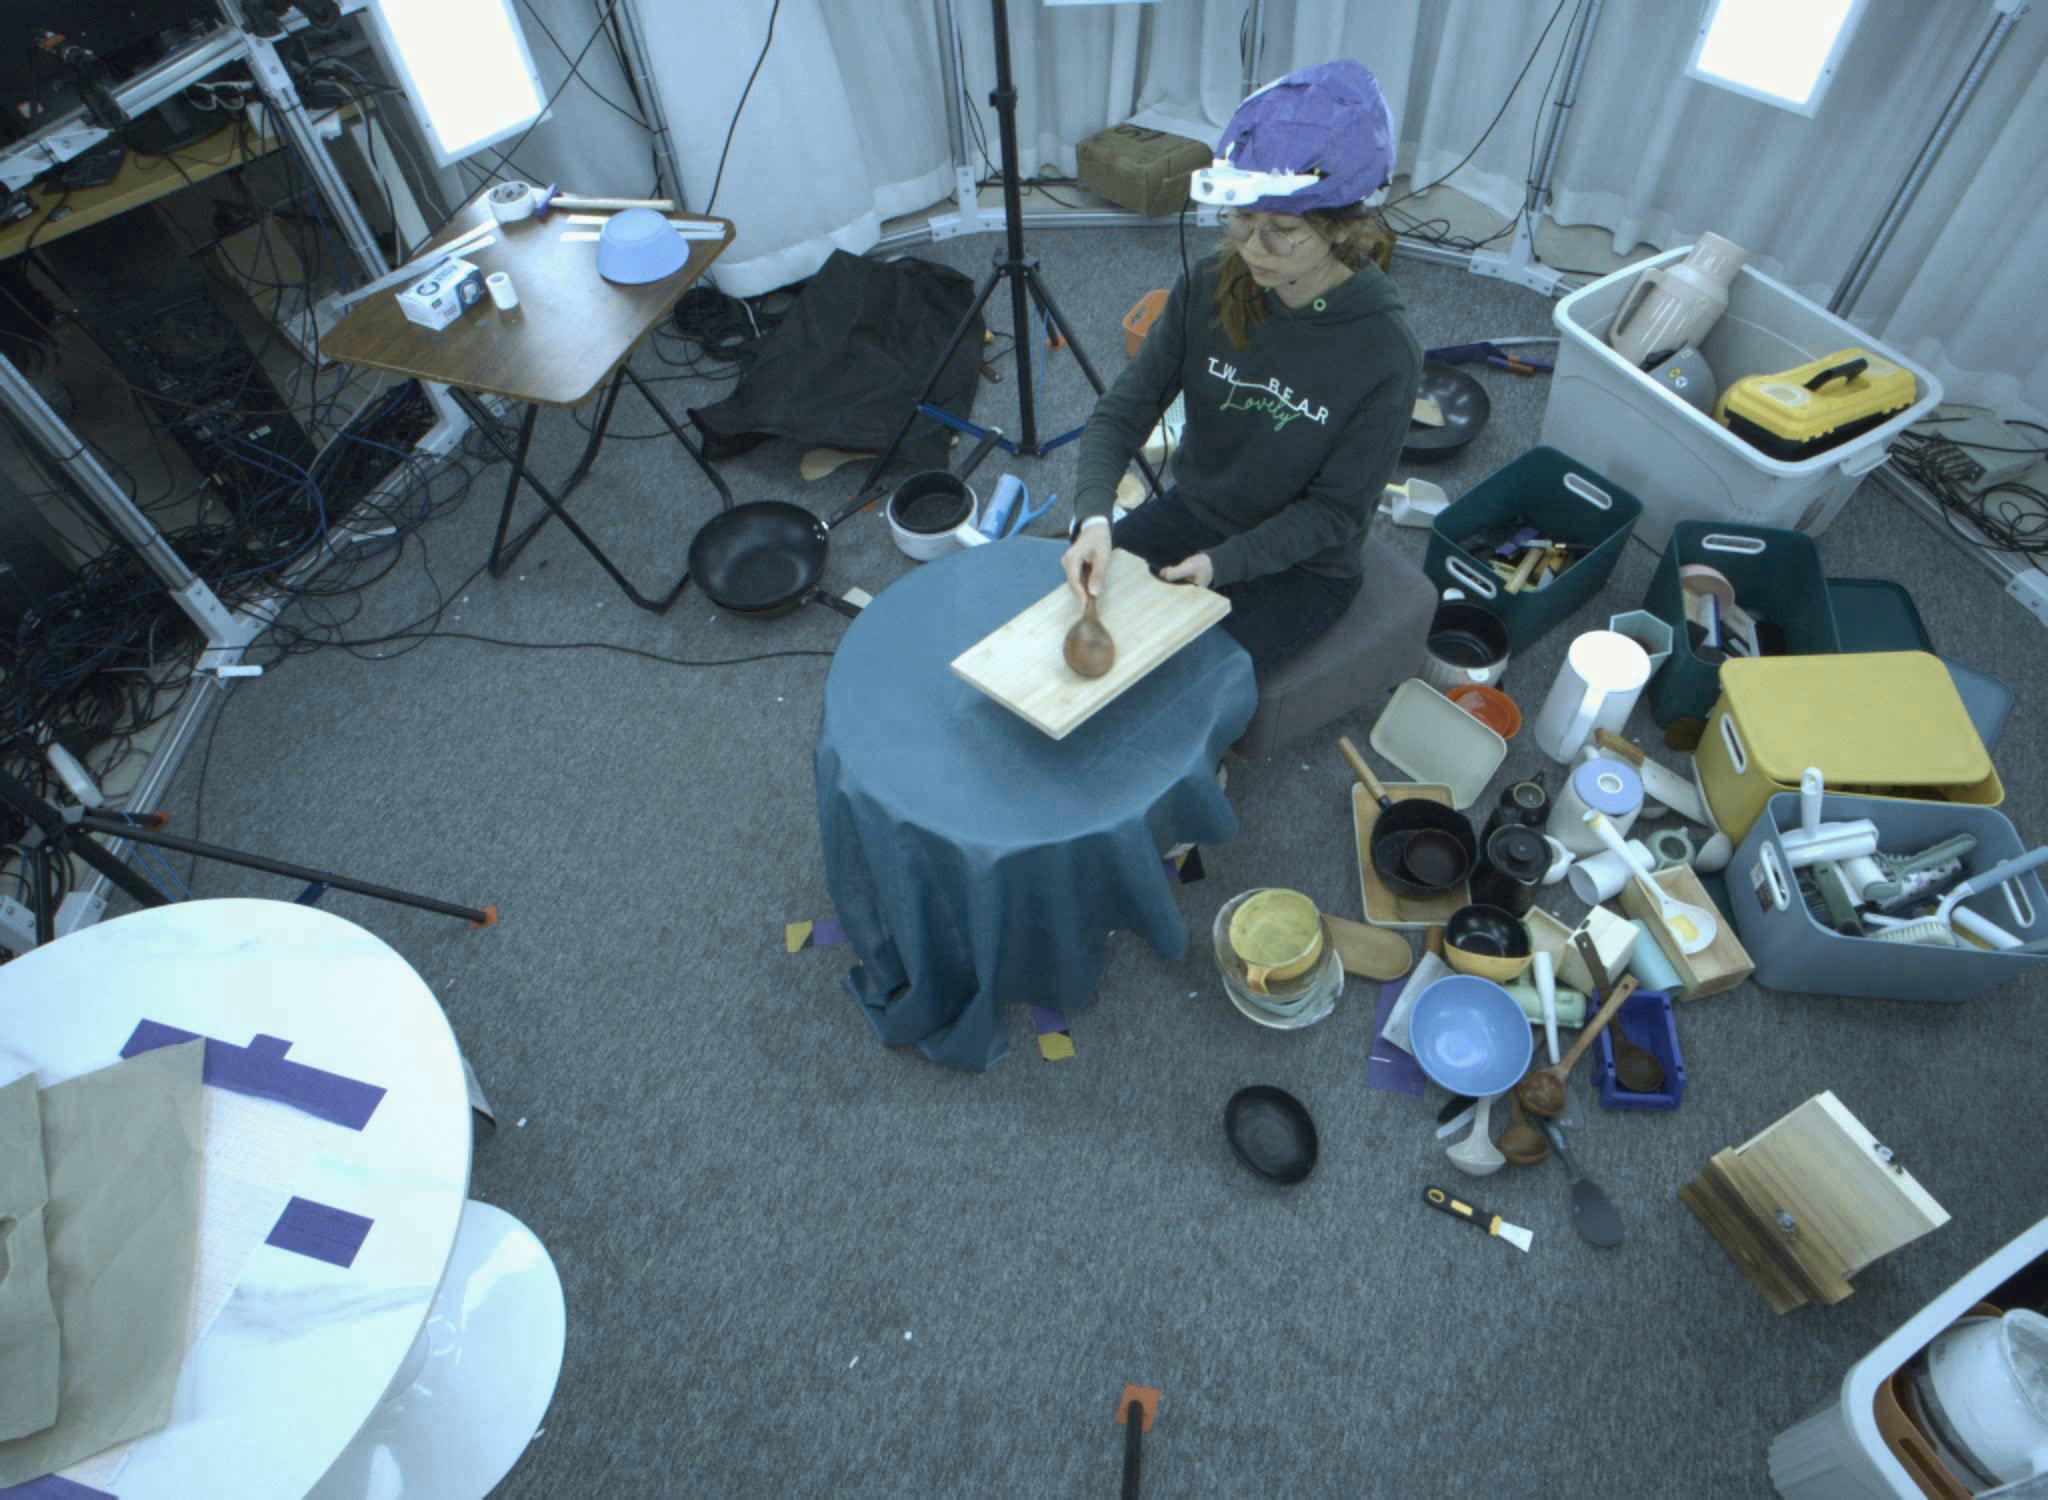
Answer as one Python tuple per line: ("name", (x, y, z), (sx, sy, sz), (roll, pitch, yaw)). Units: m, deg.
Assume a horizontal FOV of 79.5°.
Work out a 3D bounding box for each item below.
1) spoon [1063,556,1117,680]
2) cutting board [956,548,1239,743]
("spoon", (0.096, -0.187, 1.743), (0.076, 0.017, 0.214), (9, 61, -7))
("cutting board", (0.103, -0.161, 1.782), (0.351, 0.024, 0.245), (-38, 49, -22))
